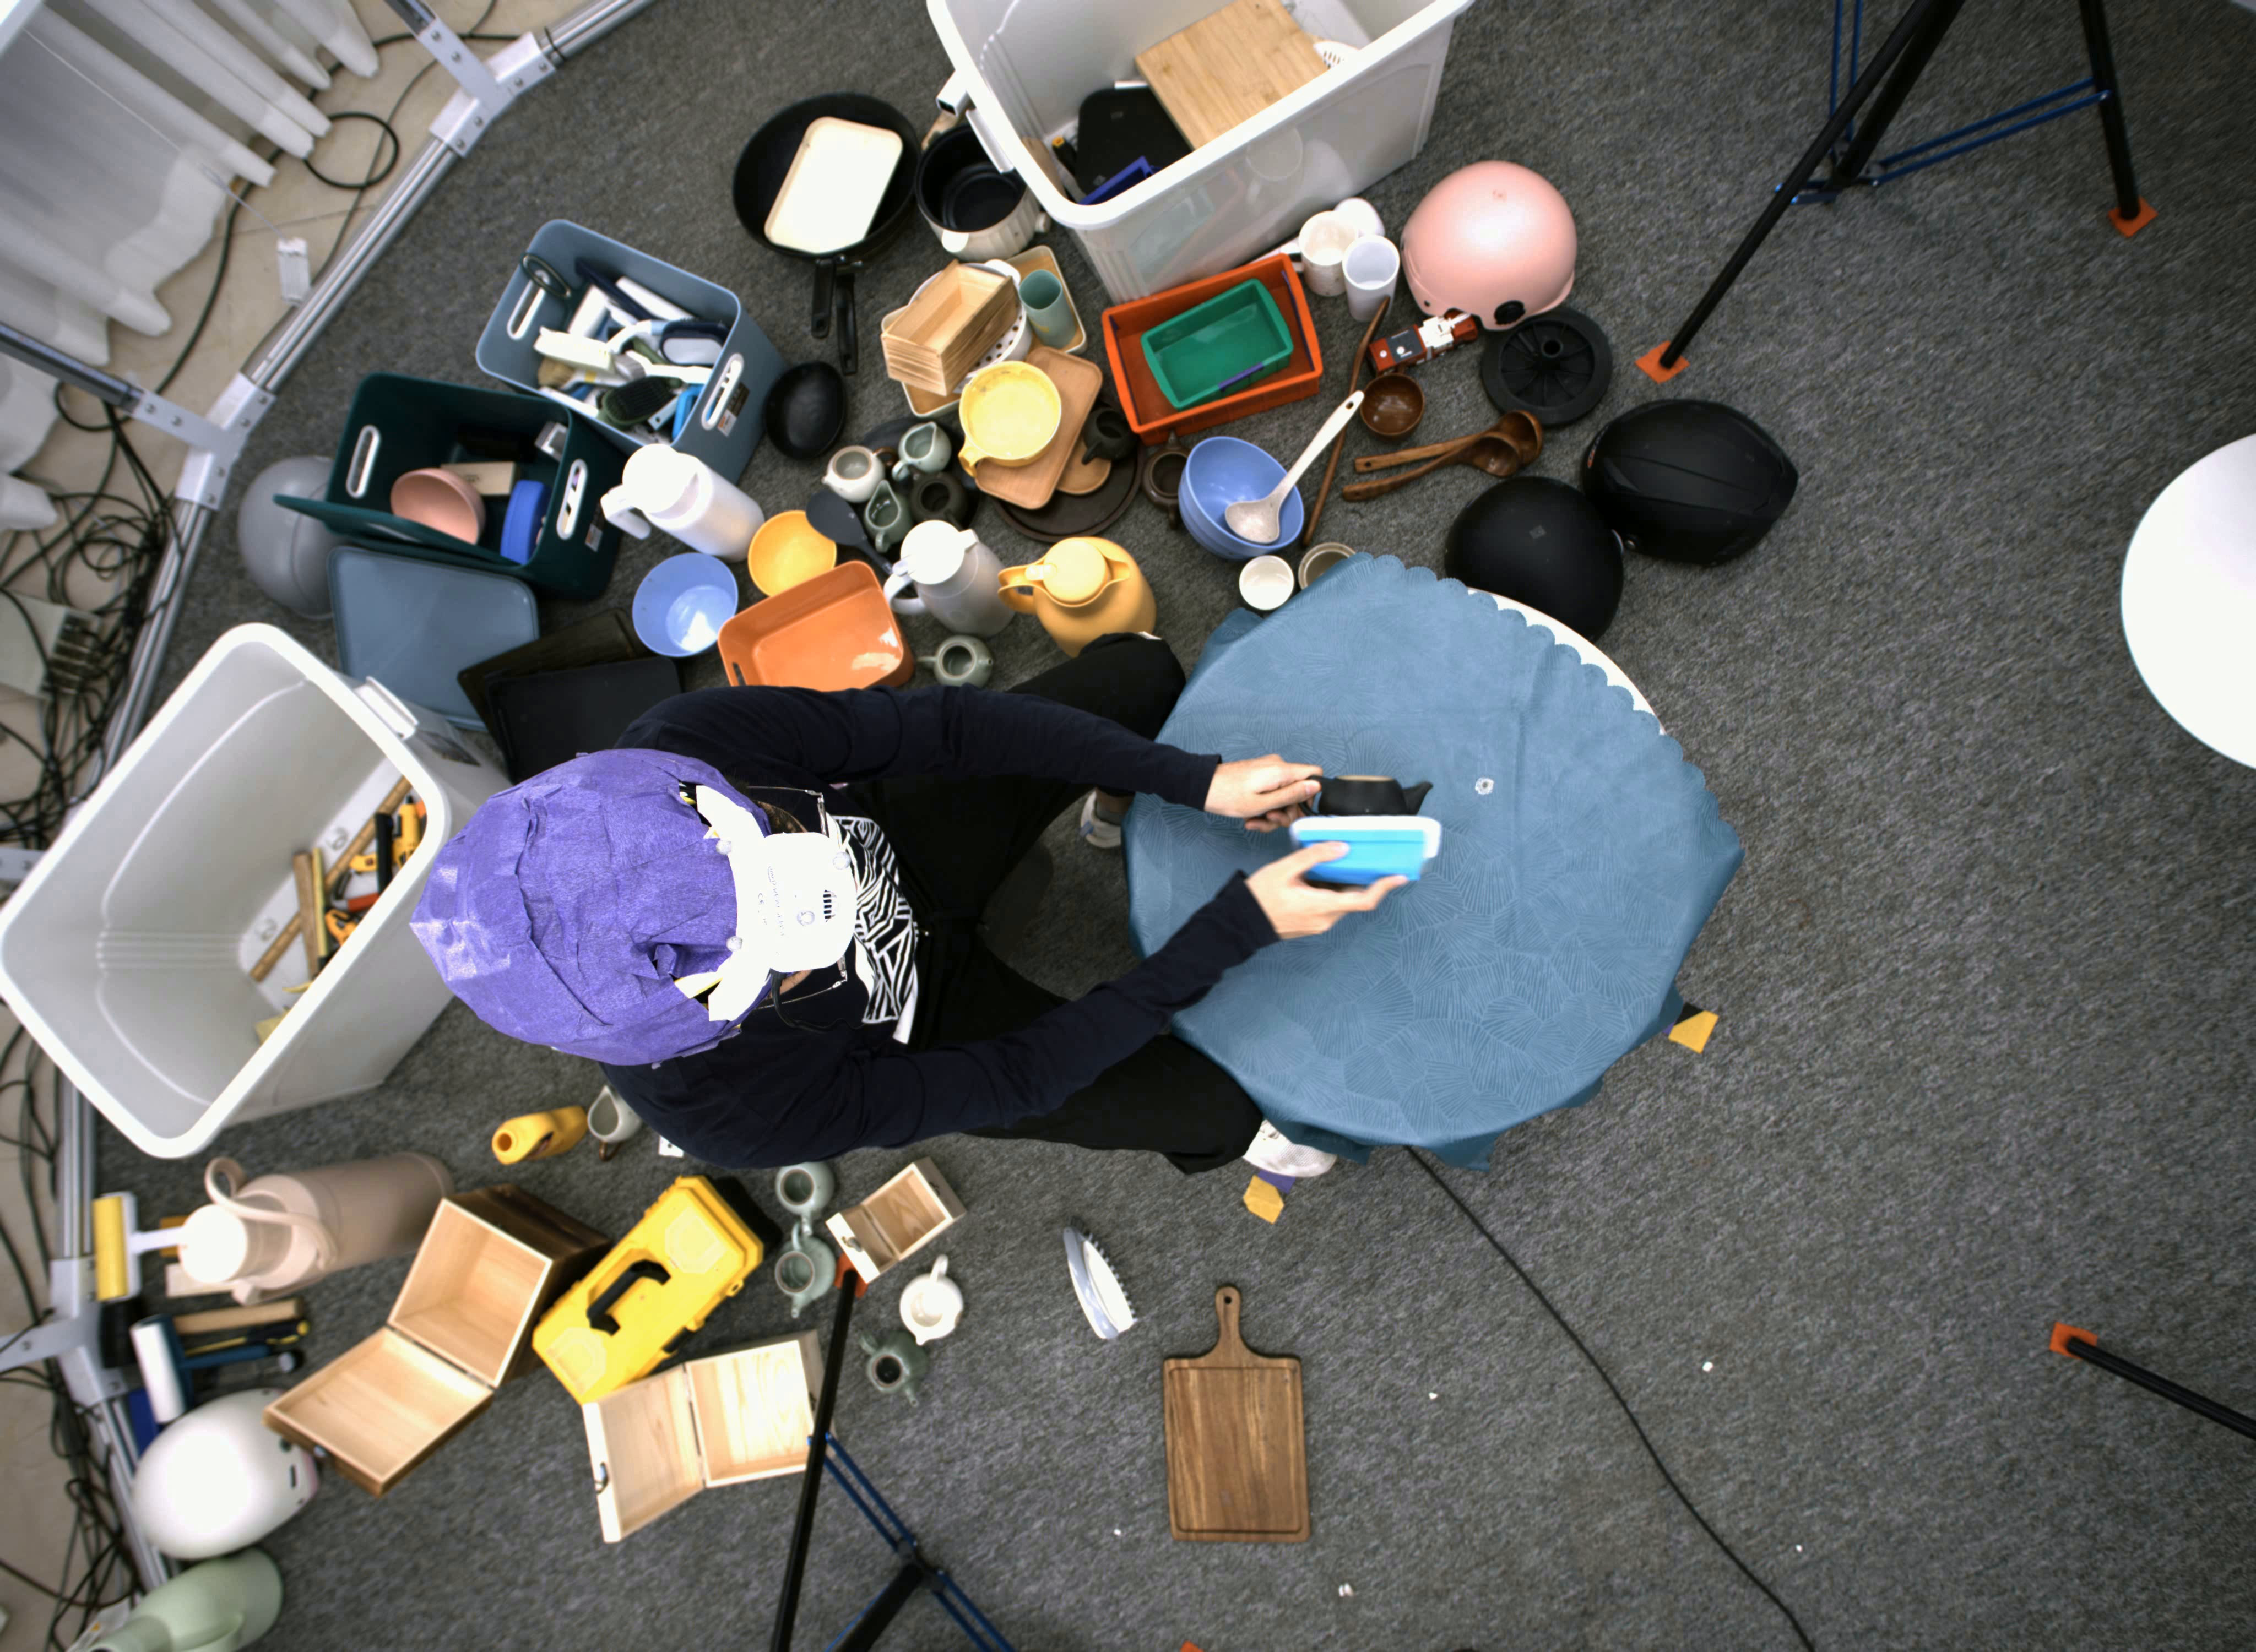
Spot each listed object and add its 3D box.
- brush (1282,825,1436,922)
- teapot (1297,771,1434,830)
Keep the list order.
[{"bbox_3d":[0.226,0.052,1.346,0.146,0.085,0.054,-22,47,22],"label":"brush"},{"bbox_3d":[0.233,-0.027,1.360,0.133,0.090,0.053,3,99,10],"label":"teapot"}]
